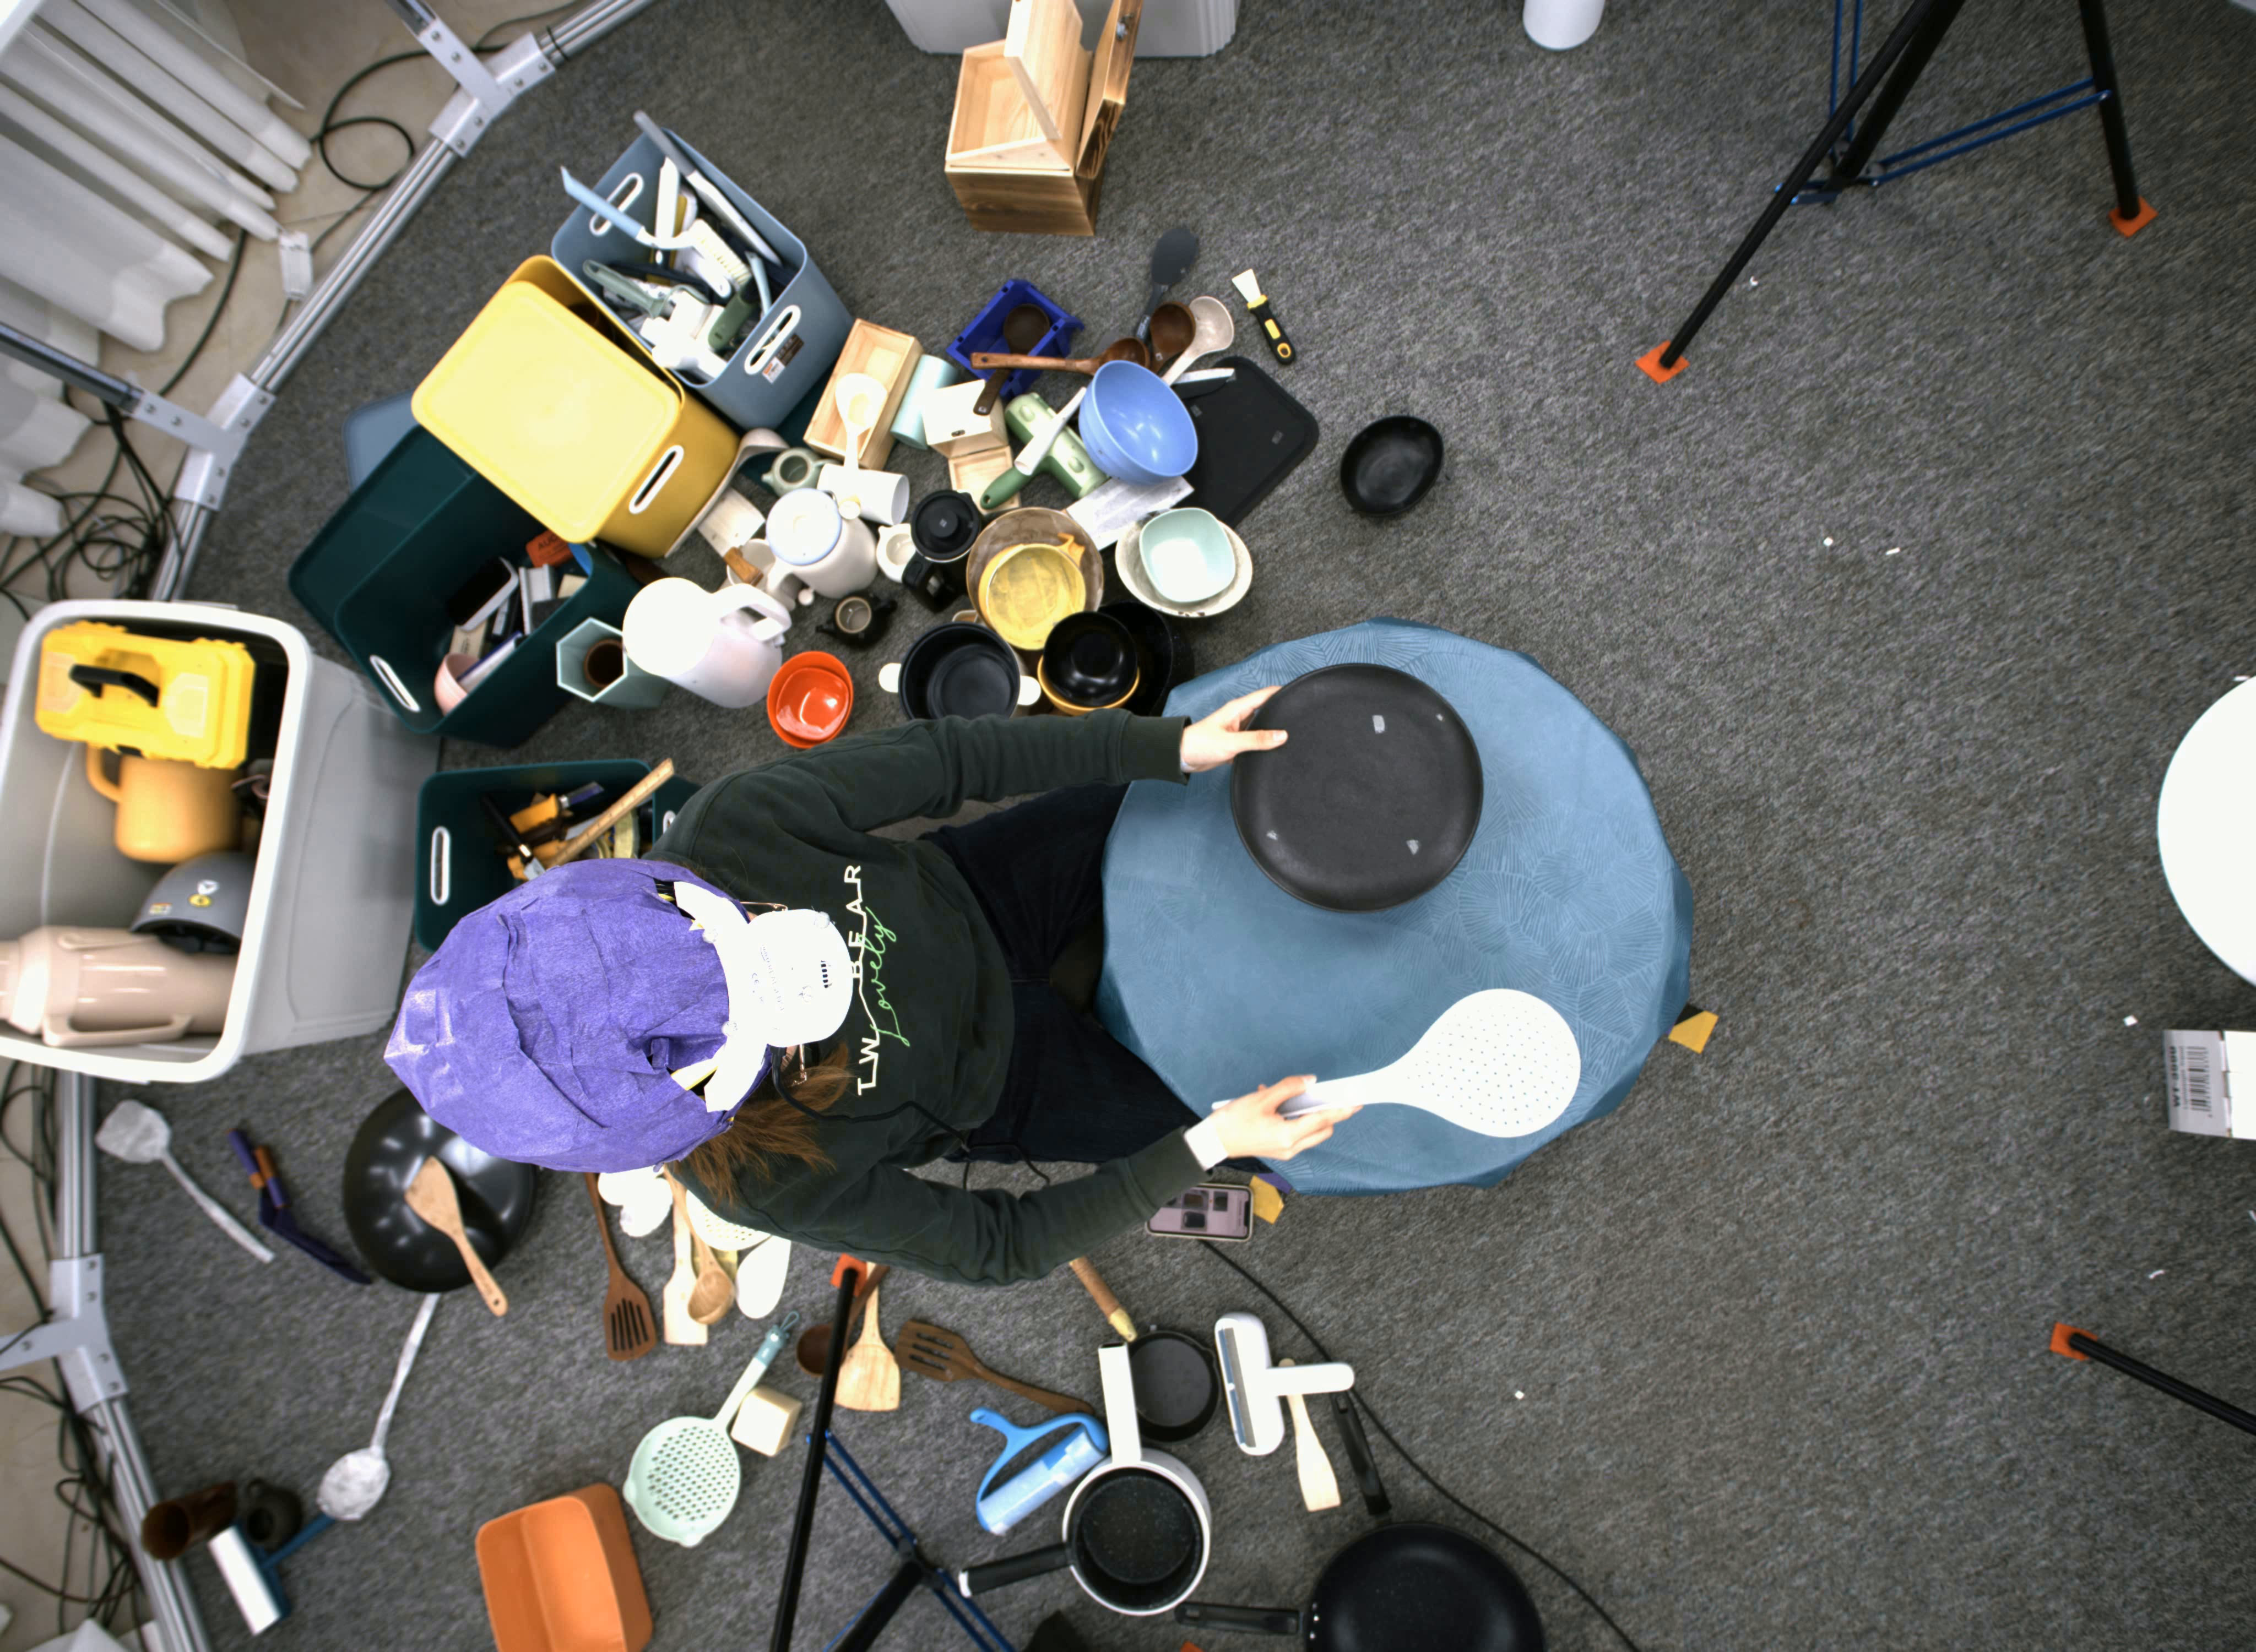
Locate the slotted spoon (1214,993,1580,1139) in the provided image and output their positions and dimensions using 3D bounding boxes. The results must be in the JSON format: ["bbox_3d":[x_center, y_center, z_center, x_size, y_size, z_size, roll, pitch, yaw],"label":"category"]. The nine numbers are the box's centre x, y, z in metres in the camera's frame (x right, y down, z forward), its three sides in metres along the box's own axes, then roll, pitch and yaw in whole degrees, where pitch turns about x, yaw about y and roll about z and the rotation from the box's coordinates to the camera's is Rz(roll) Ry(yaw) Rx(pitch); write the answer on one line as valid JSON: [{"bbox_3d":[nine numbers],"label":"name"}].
[{"bbox_3d":[0.249,0.245,1.313,0.352,0.045,0.136,-15,90,15],"label":"slotted spoon"}]

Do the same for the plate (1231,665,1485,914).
[{"bbox_3d":[0.224,-0.036,1.345,0.245,0.023,0.244,0,90,9],"label":"plate"}]
